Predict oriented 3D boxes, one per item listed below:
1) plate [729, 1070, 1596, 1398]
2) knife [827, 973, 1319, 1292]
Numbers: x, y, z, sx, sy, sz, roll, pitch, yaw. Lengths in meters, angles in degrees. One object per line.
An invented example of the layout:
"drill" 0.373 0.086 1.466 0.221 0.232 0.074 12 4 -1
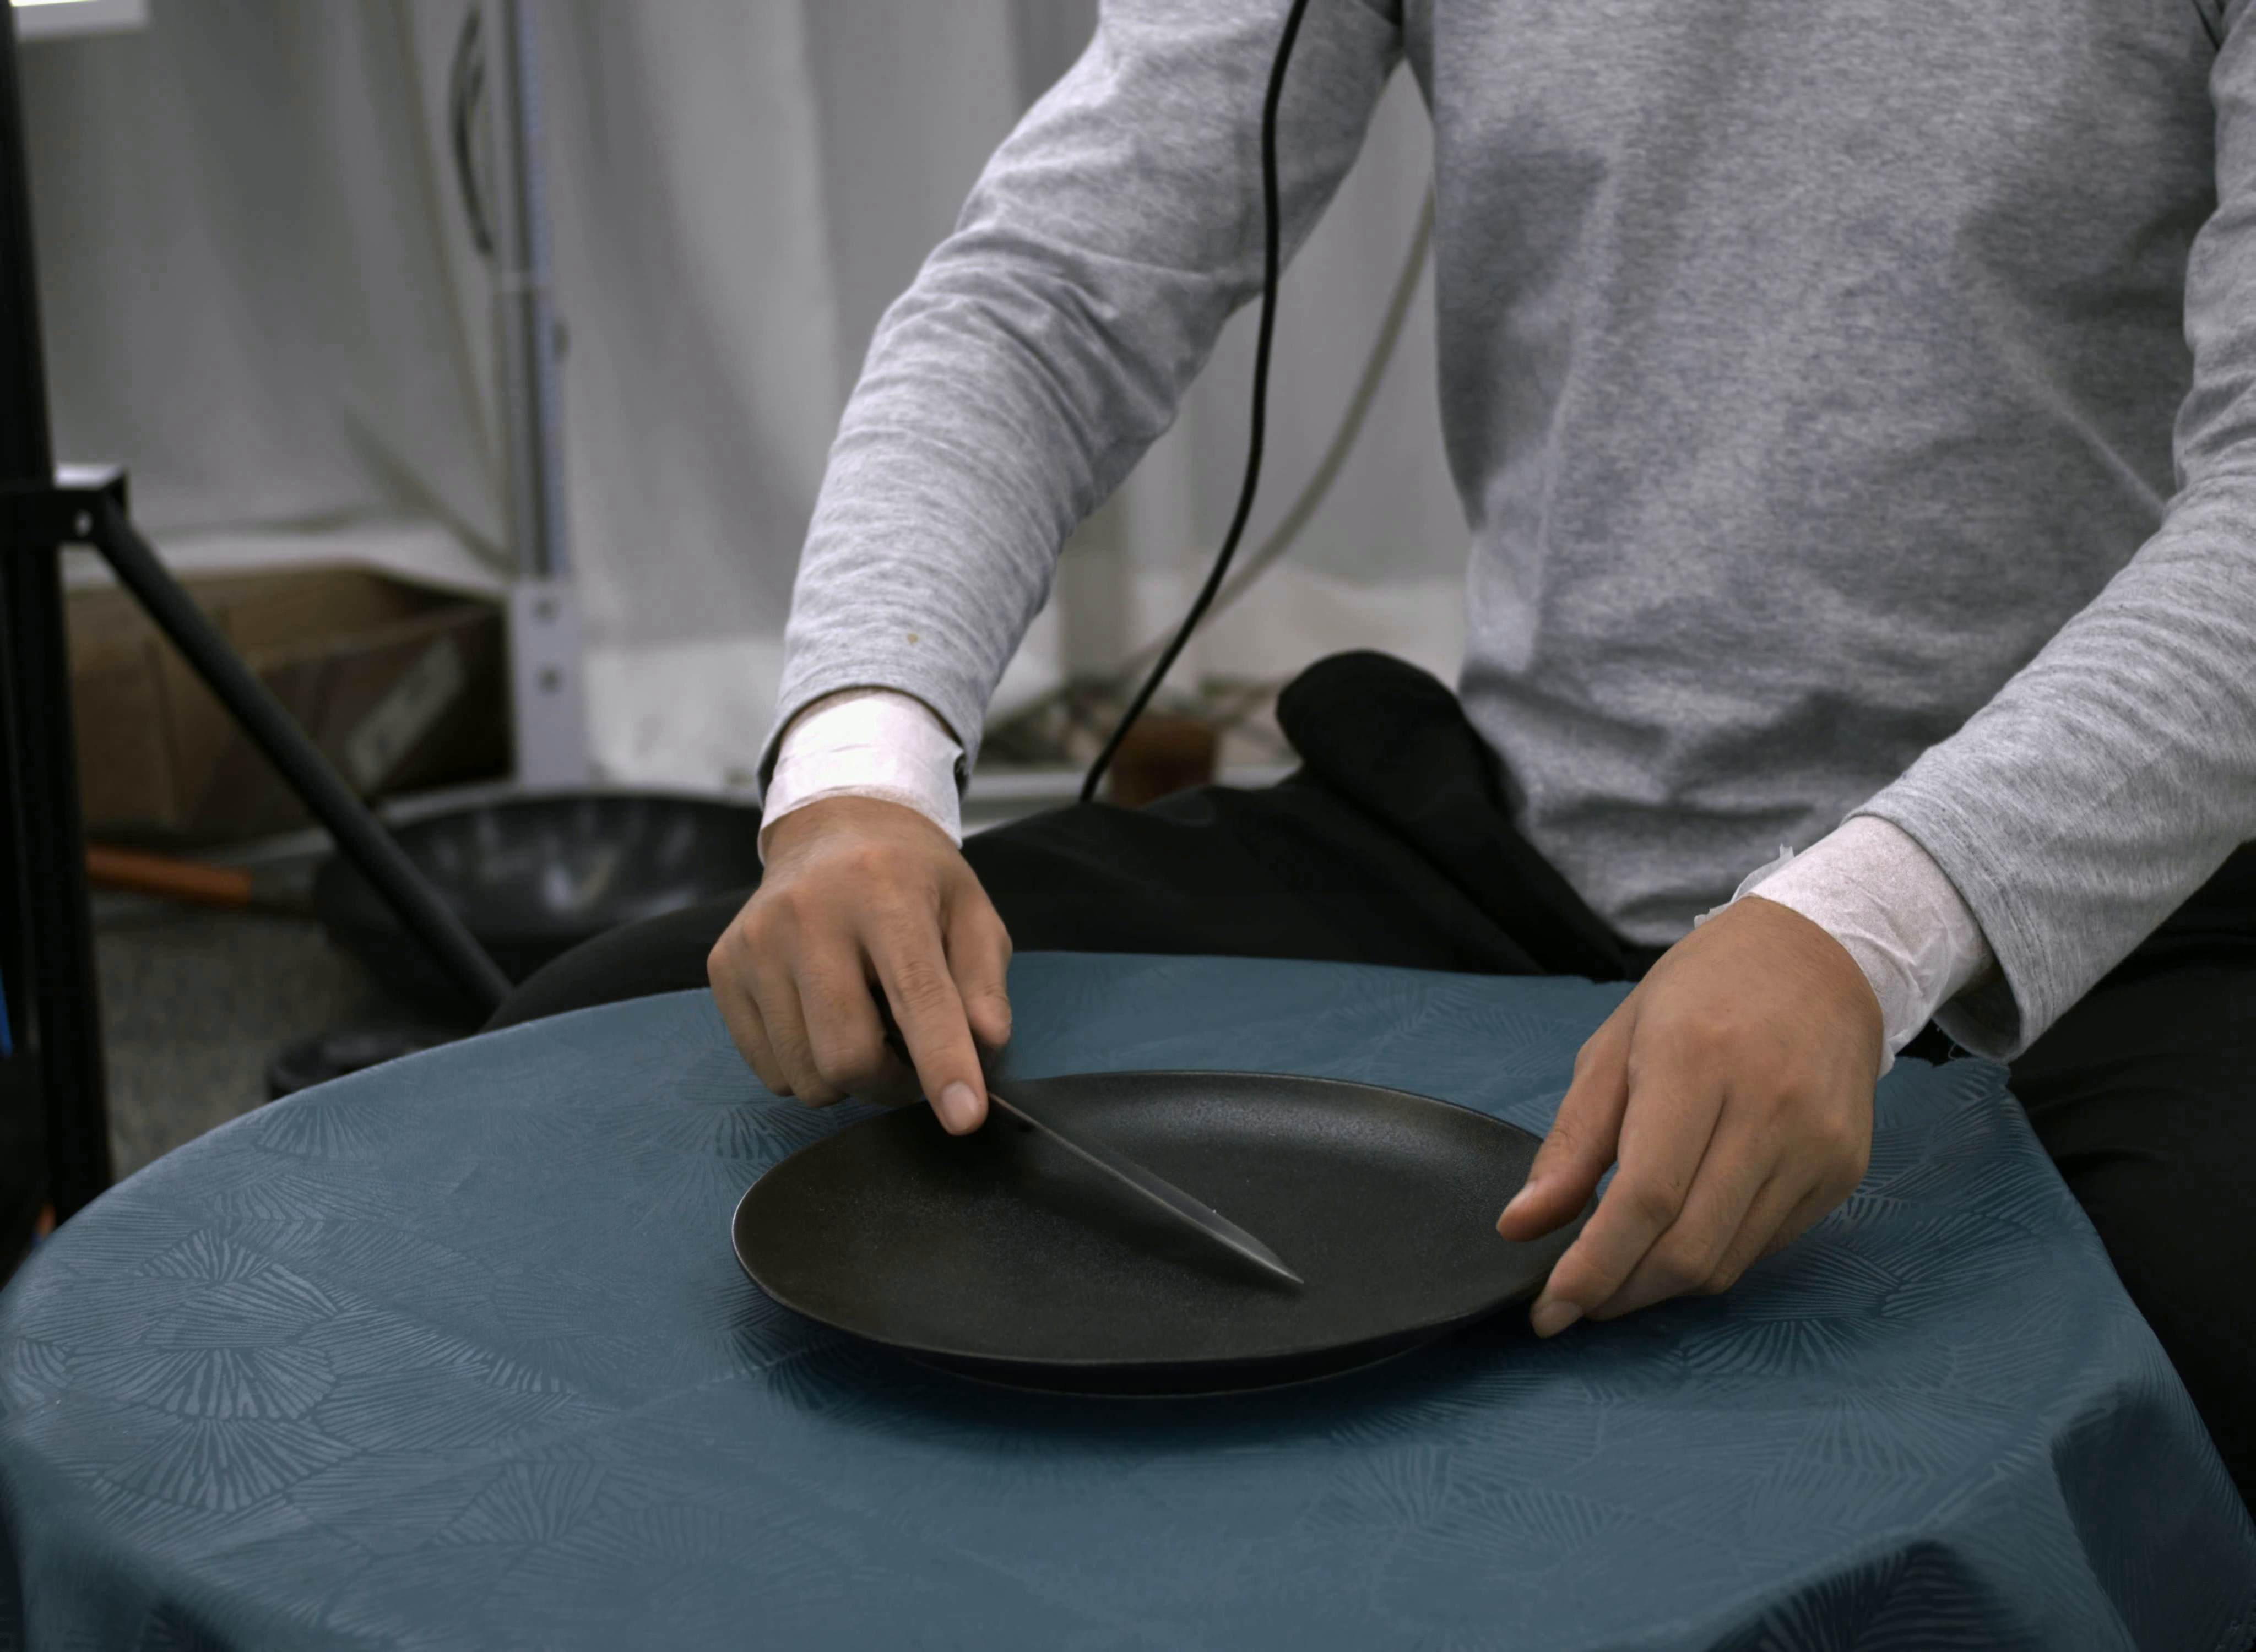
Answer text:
"plate" 0.010 0.116 1.488 0.243 0.023 0.245 -3 16 -1
"knife" -0.020 0.089 1.542 0.024 0.016 0.244 9 13 -39
